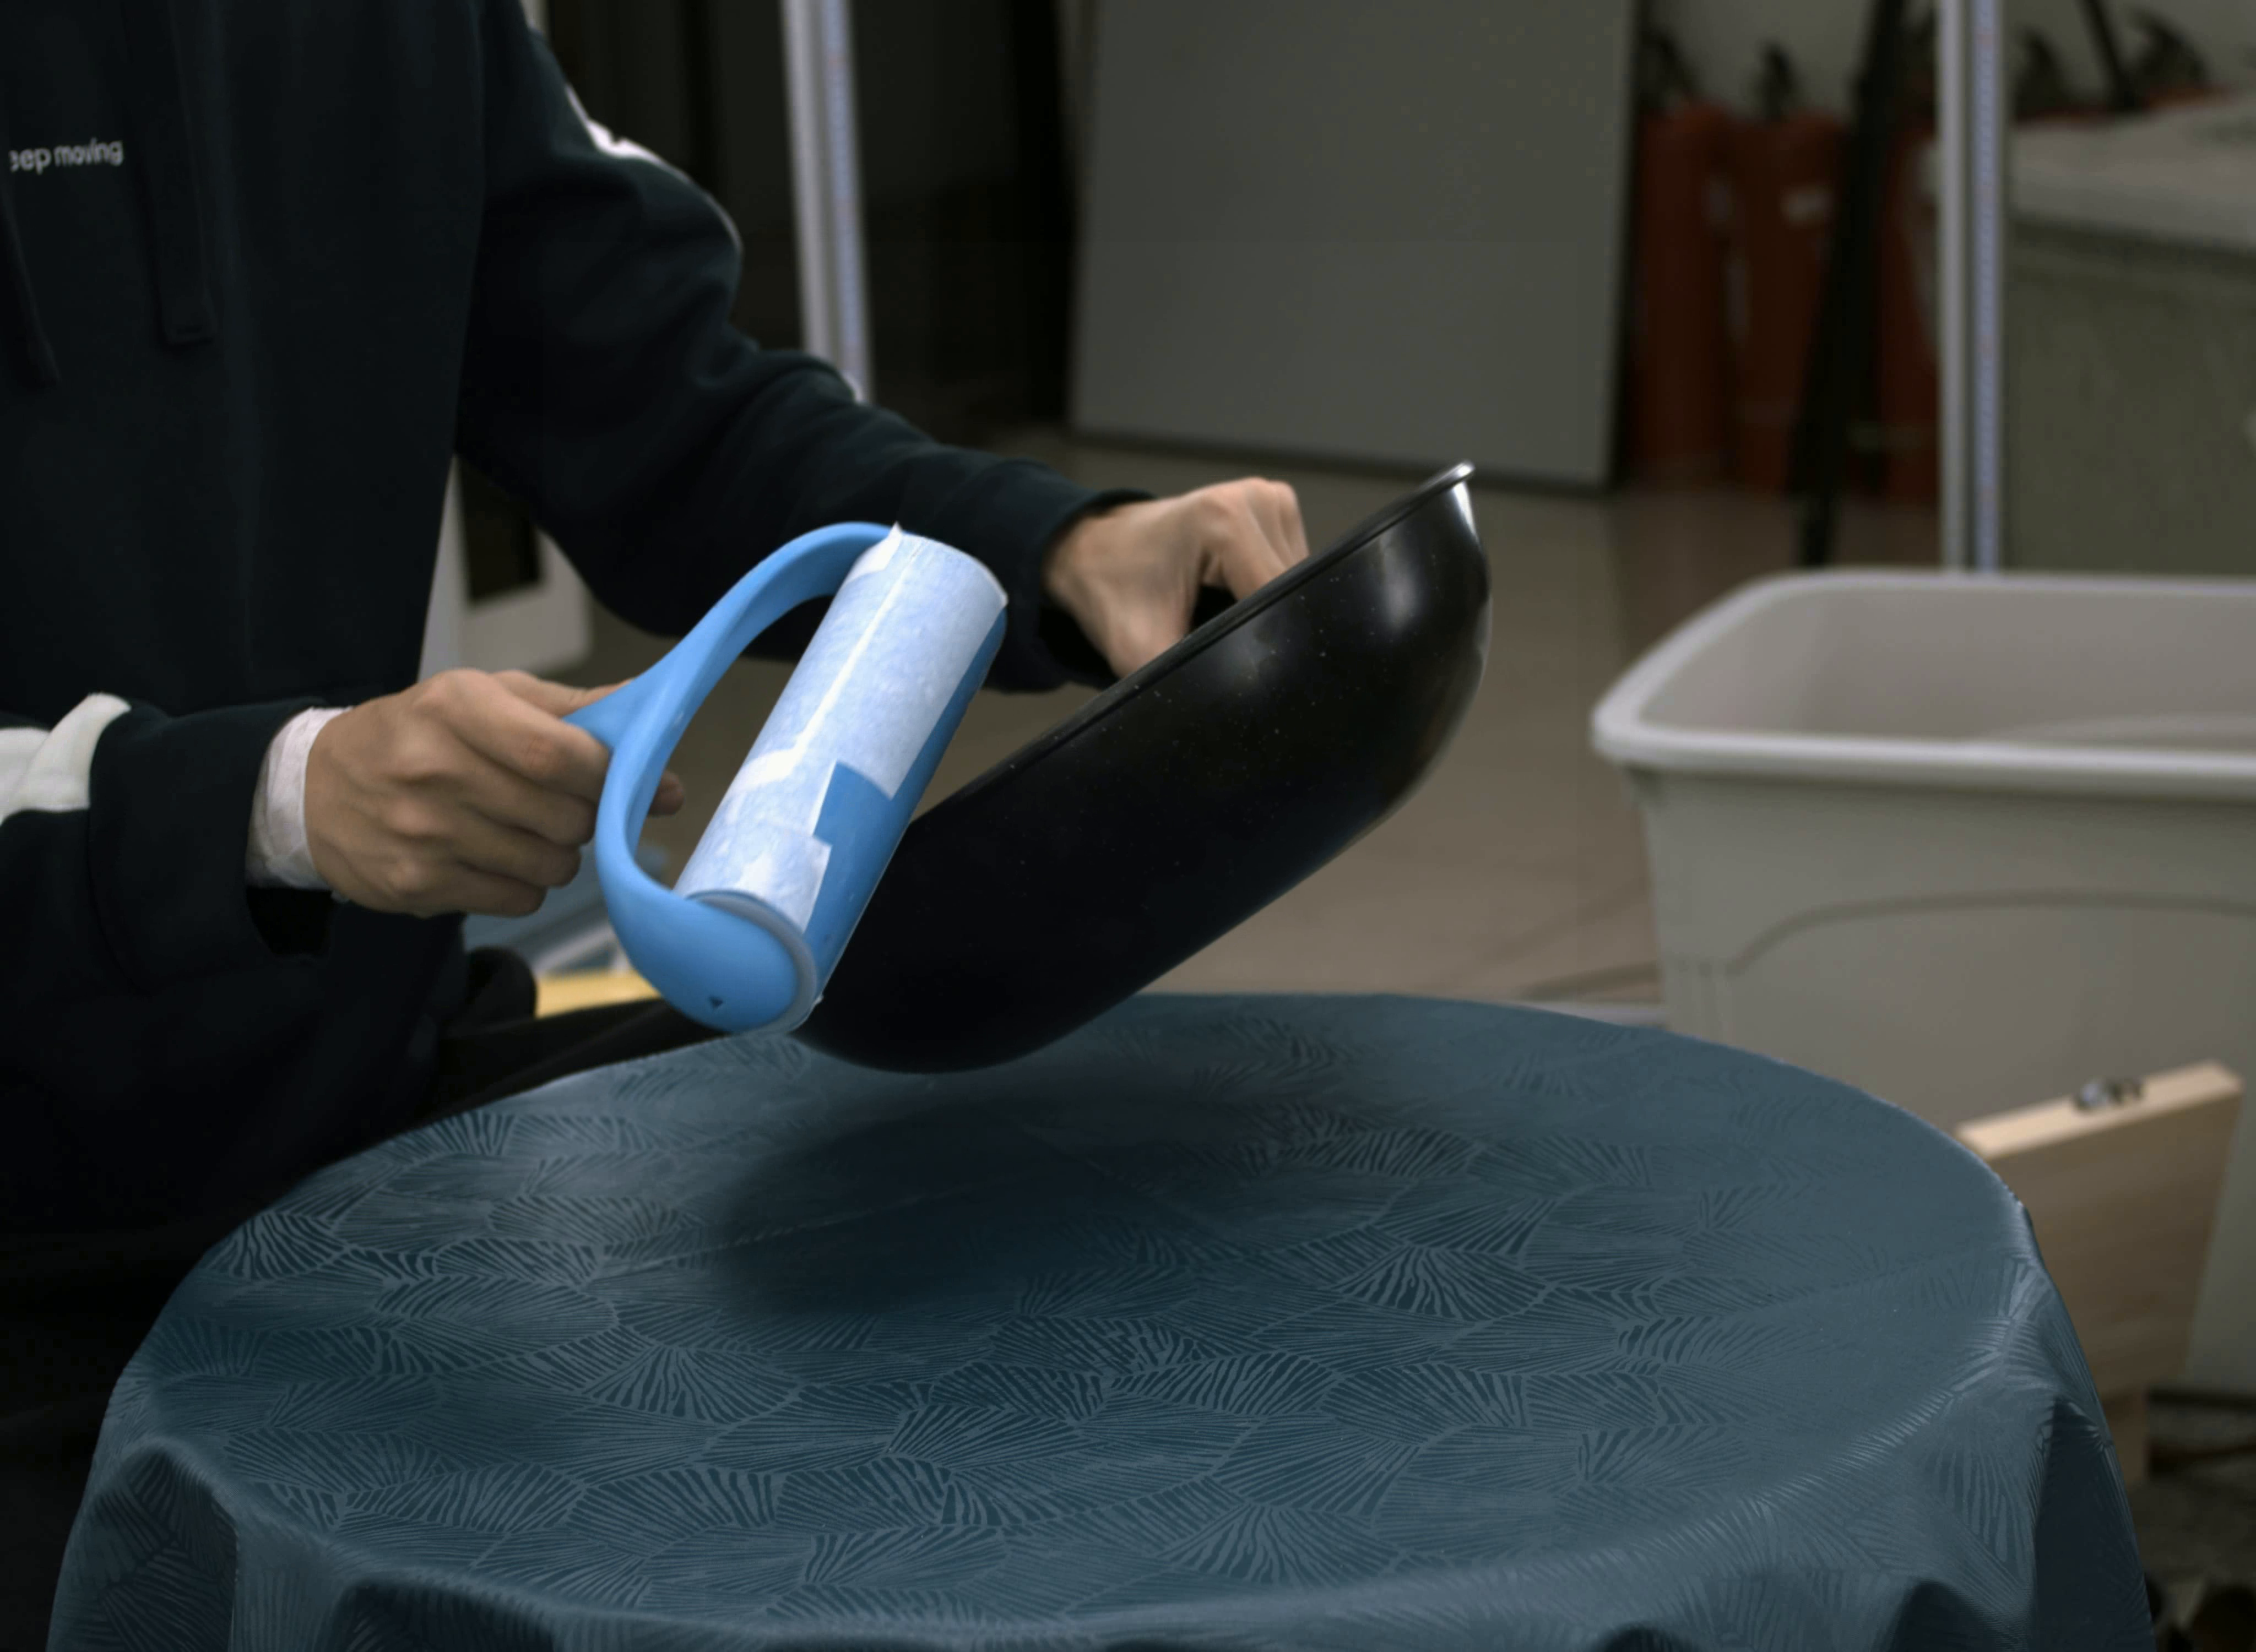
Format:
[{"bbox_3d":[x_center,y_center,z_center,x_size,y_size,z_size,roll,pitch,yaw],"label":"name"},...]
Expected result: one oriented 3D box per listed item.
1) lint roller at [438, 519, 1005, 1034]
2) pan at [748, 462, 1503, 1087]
[{"bbox_3d":[-0.142,-0.010,1.664,0.180,0.068,0.229,-8,34,20],"label":"lint roller"},{"bbox_3d":[0.023,-0.023,1.855,0.311,0.112,0.473,-33,0,17],"label":"pan"}]
